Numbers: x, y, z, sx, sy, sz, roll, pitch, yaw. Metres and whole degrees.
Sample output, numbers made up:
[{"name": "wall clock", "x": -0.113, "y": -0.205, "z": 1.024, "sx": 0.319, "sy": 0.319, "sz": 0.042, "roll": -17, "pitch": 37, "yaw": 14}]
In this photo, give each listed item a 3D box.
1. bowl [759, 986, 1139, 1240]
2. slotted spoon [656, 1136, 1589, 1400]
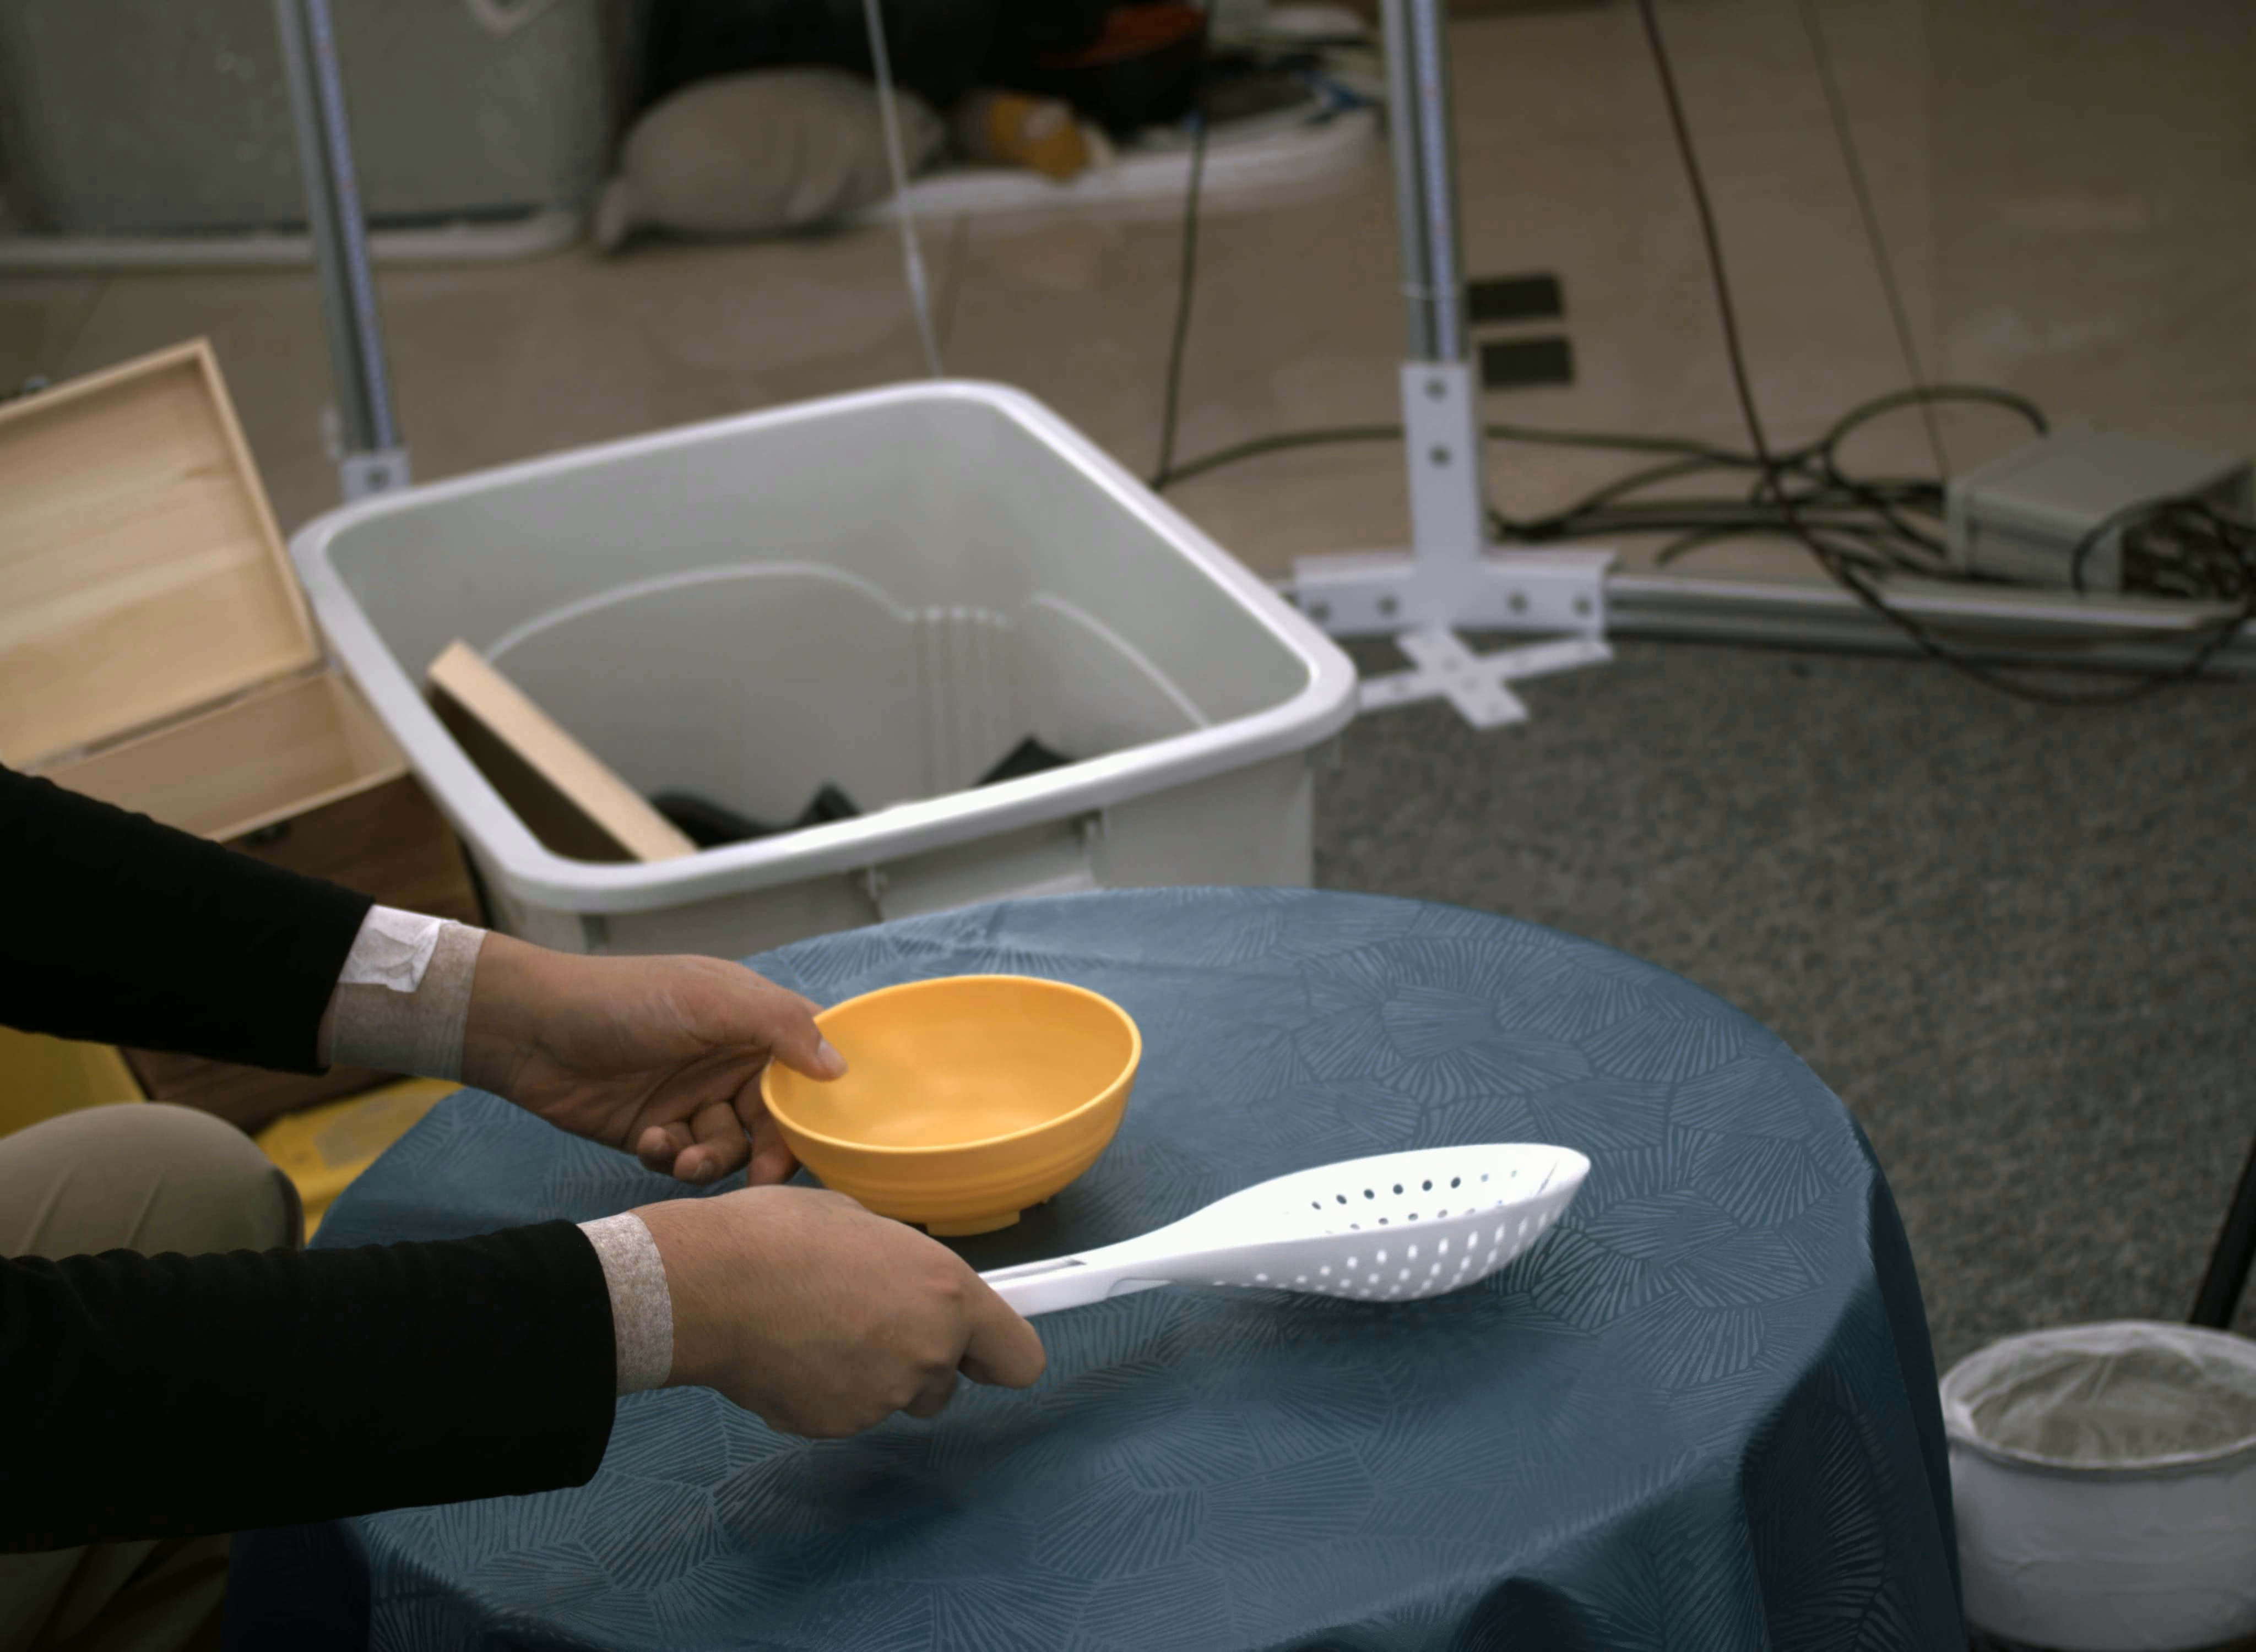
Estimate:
[{"name": "bowl", "x": -0.065, "y": 0.116, "z": 2.146, "sx": 0.145, "sy": 0.061, "sz": 0.143, "roll": -4, "pitch": 23, "yaw": 2}, {"name": "slotted spoon", "x": 0.001, "y": 0.156, "z": 2.009, "sx": 0.349, "sy": 0.046, "sz": 0.136, "roll": -7, "pitch": 3, "yaw": -20}]
